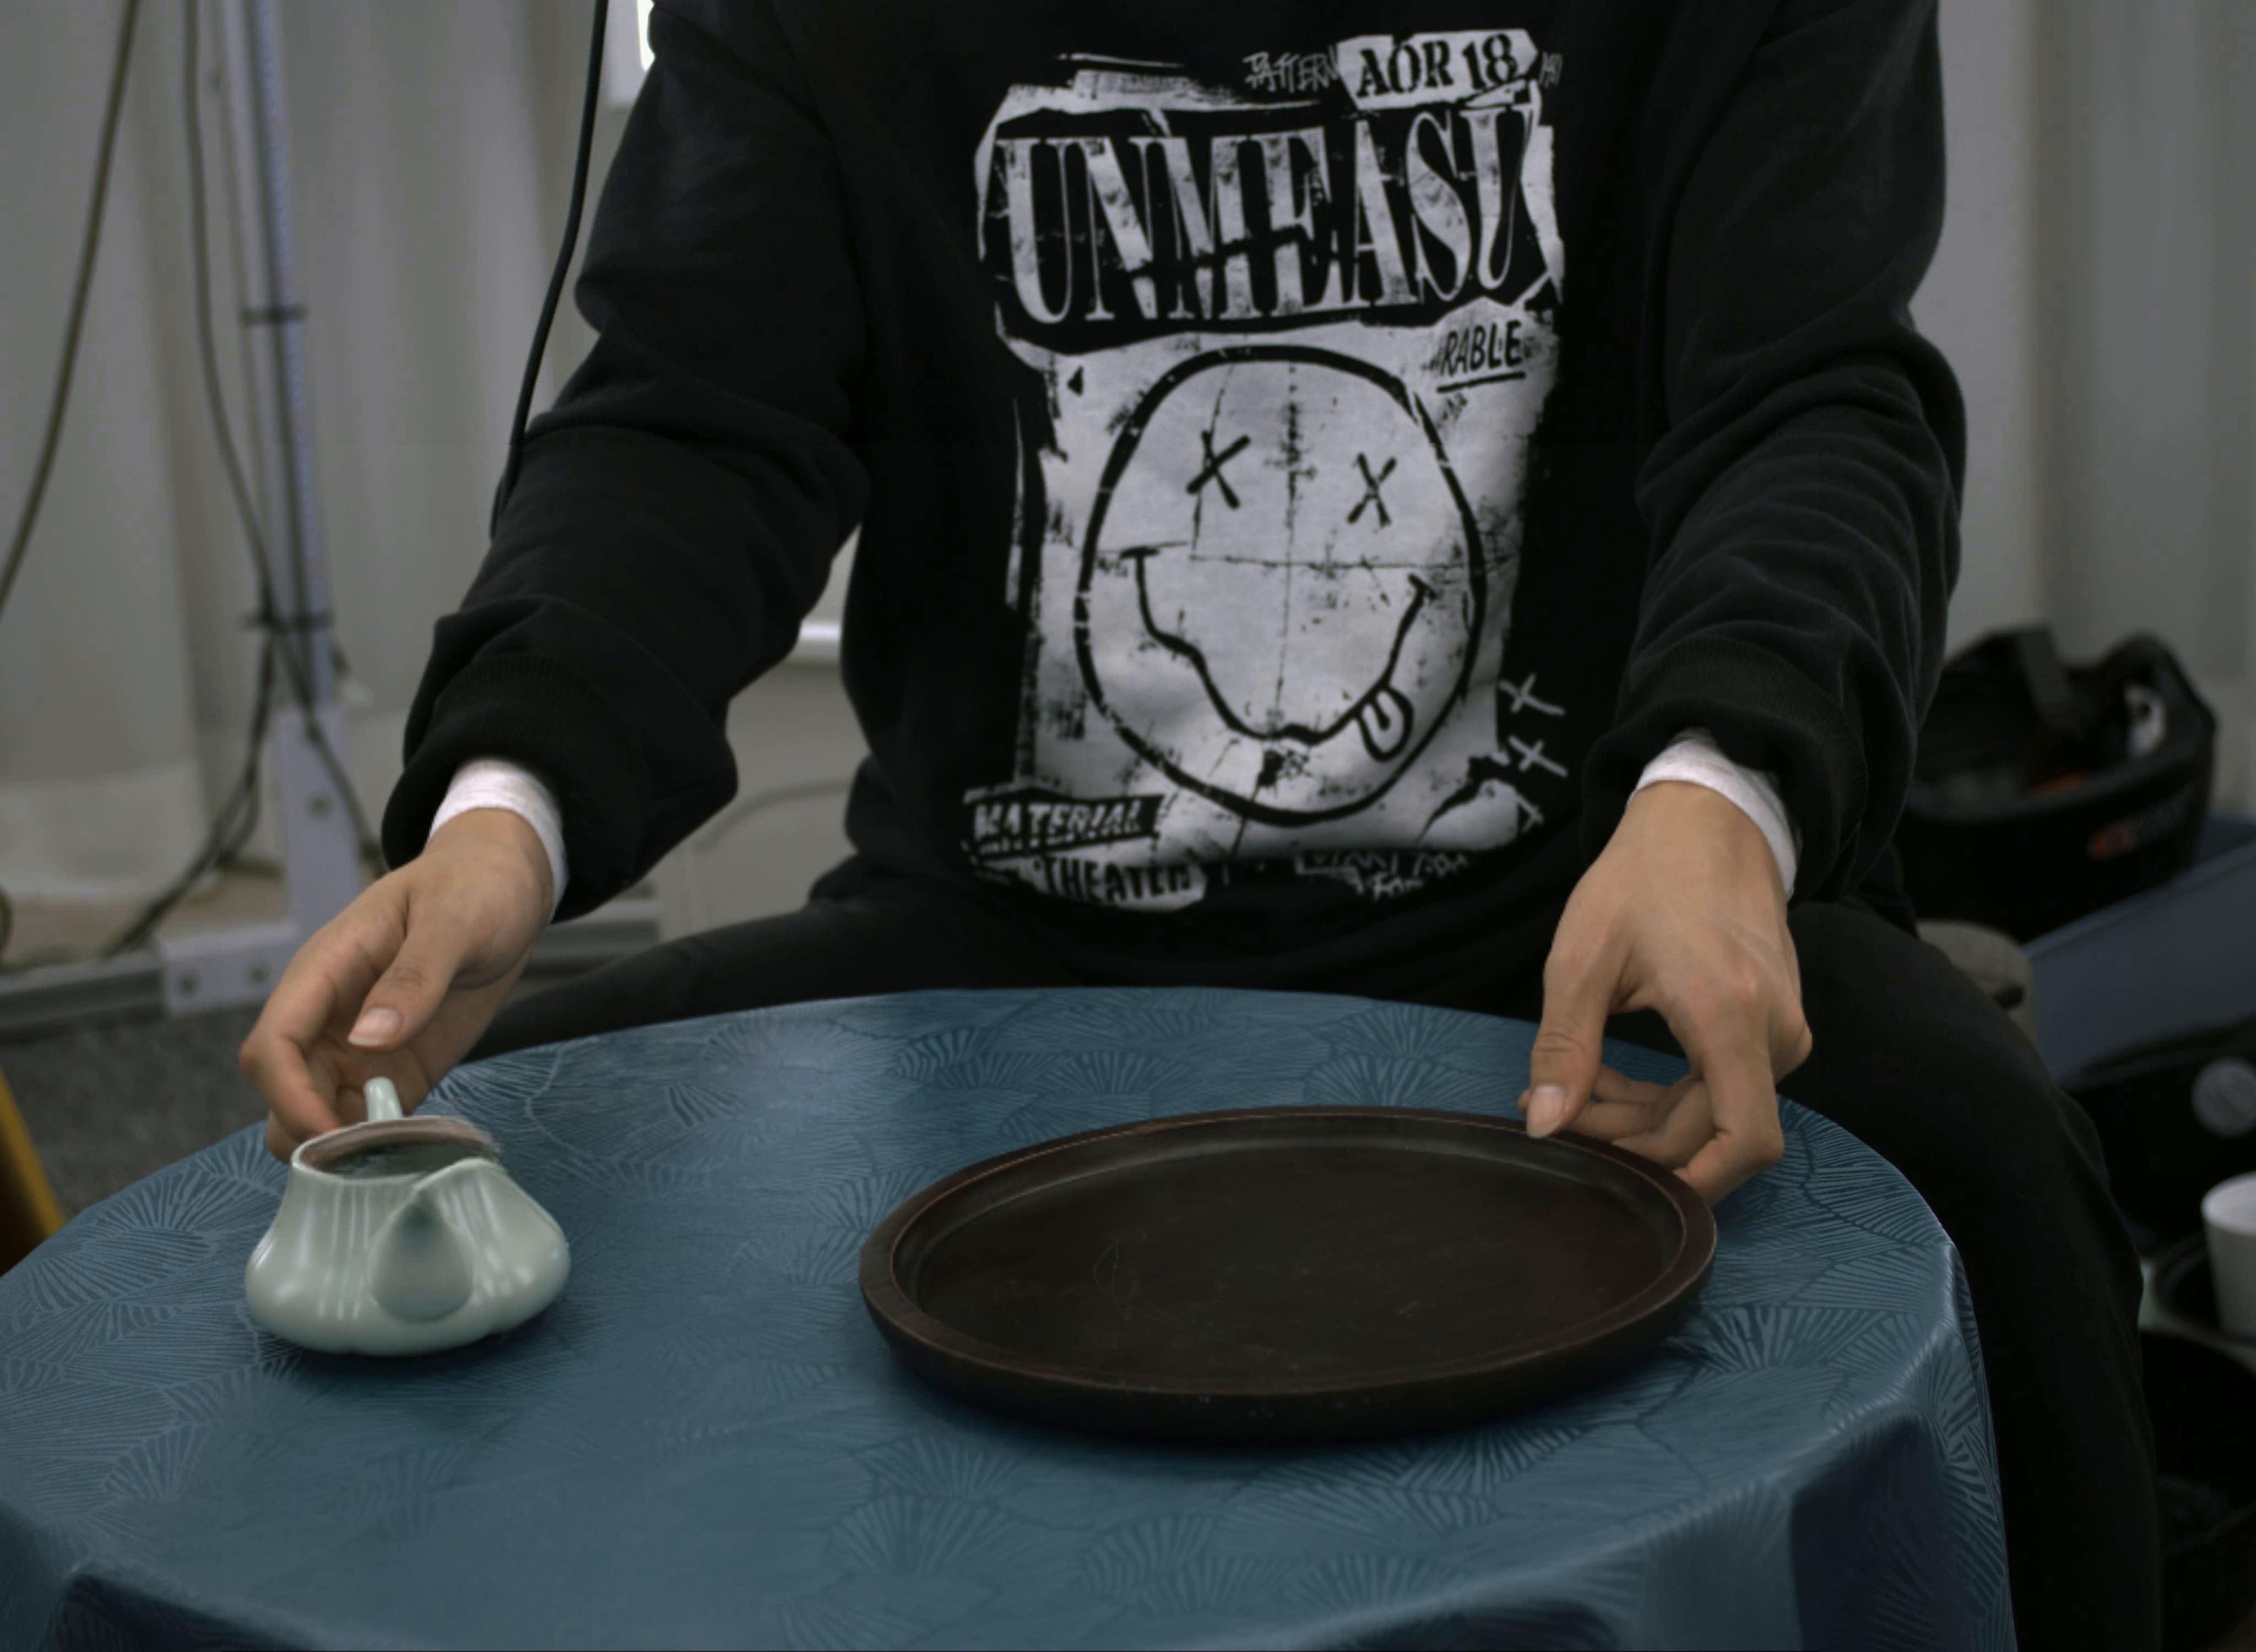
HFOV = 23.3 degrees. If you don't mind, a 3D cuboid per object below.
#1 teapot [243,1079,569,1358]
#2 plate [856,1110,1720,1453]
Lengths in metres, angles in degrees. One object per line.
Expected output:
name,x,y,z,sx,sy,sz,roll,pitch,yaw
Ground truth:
teapot,-0.216,0.119,1.622,0.096,0.061,0.138,-8,16,-14
plate,0.047,0.130,1.600,0.254,0.029,0.256,-4,16,1
